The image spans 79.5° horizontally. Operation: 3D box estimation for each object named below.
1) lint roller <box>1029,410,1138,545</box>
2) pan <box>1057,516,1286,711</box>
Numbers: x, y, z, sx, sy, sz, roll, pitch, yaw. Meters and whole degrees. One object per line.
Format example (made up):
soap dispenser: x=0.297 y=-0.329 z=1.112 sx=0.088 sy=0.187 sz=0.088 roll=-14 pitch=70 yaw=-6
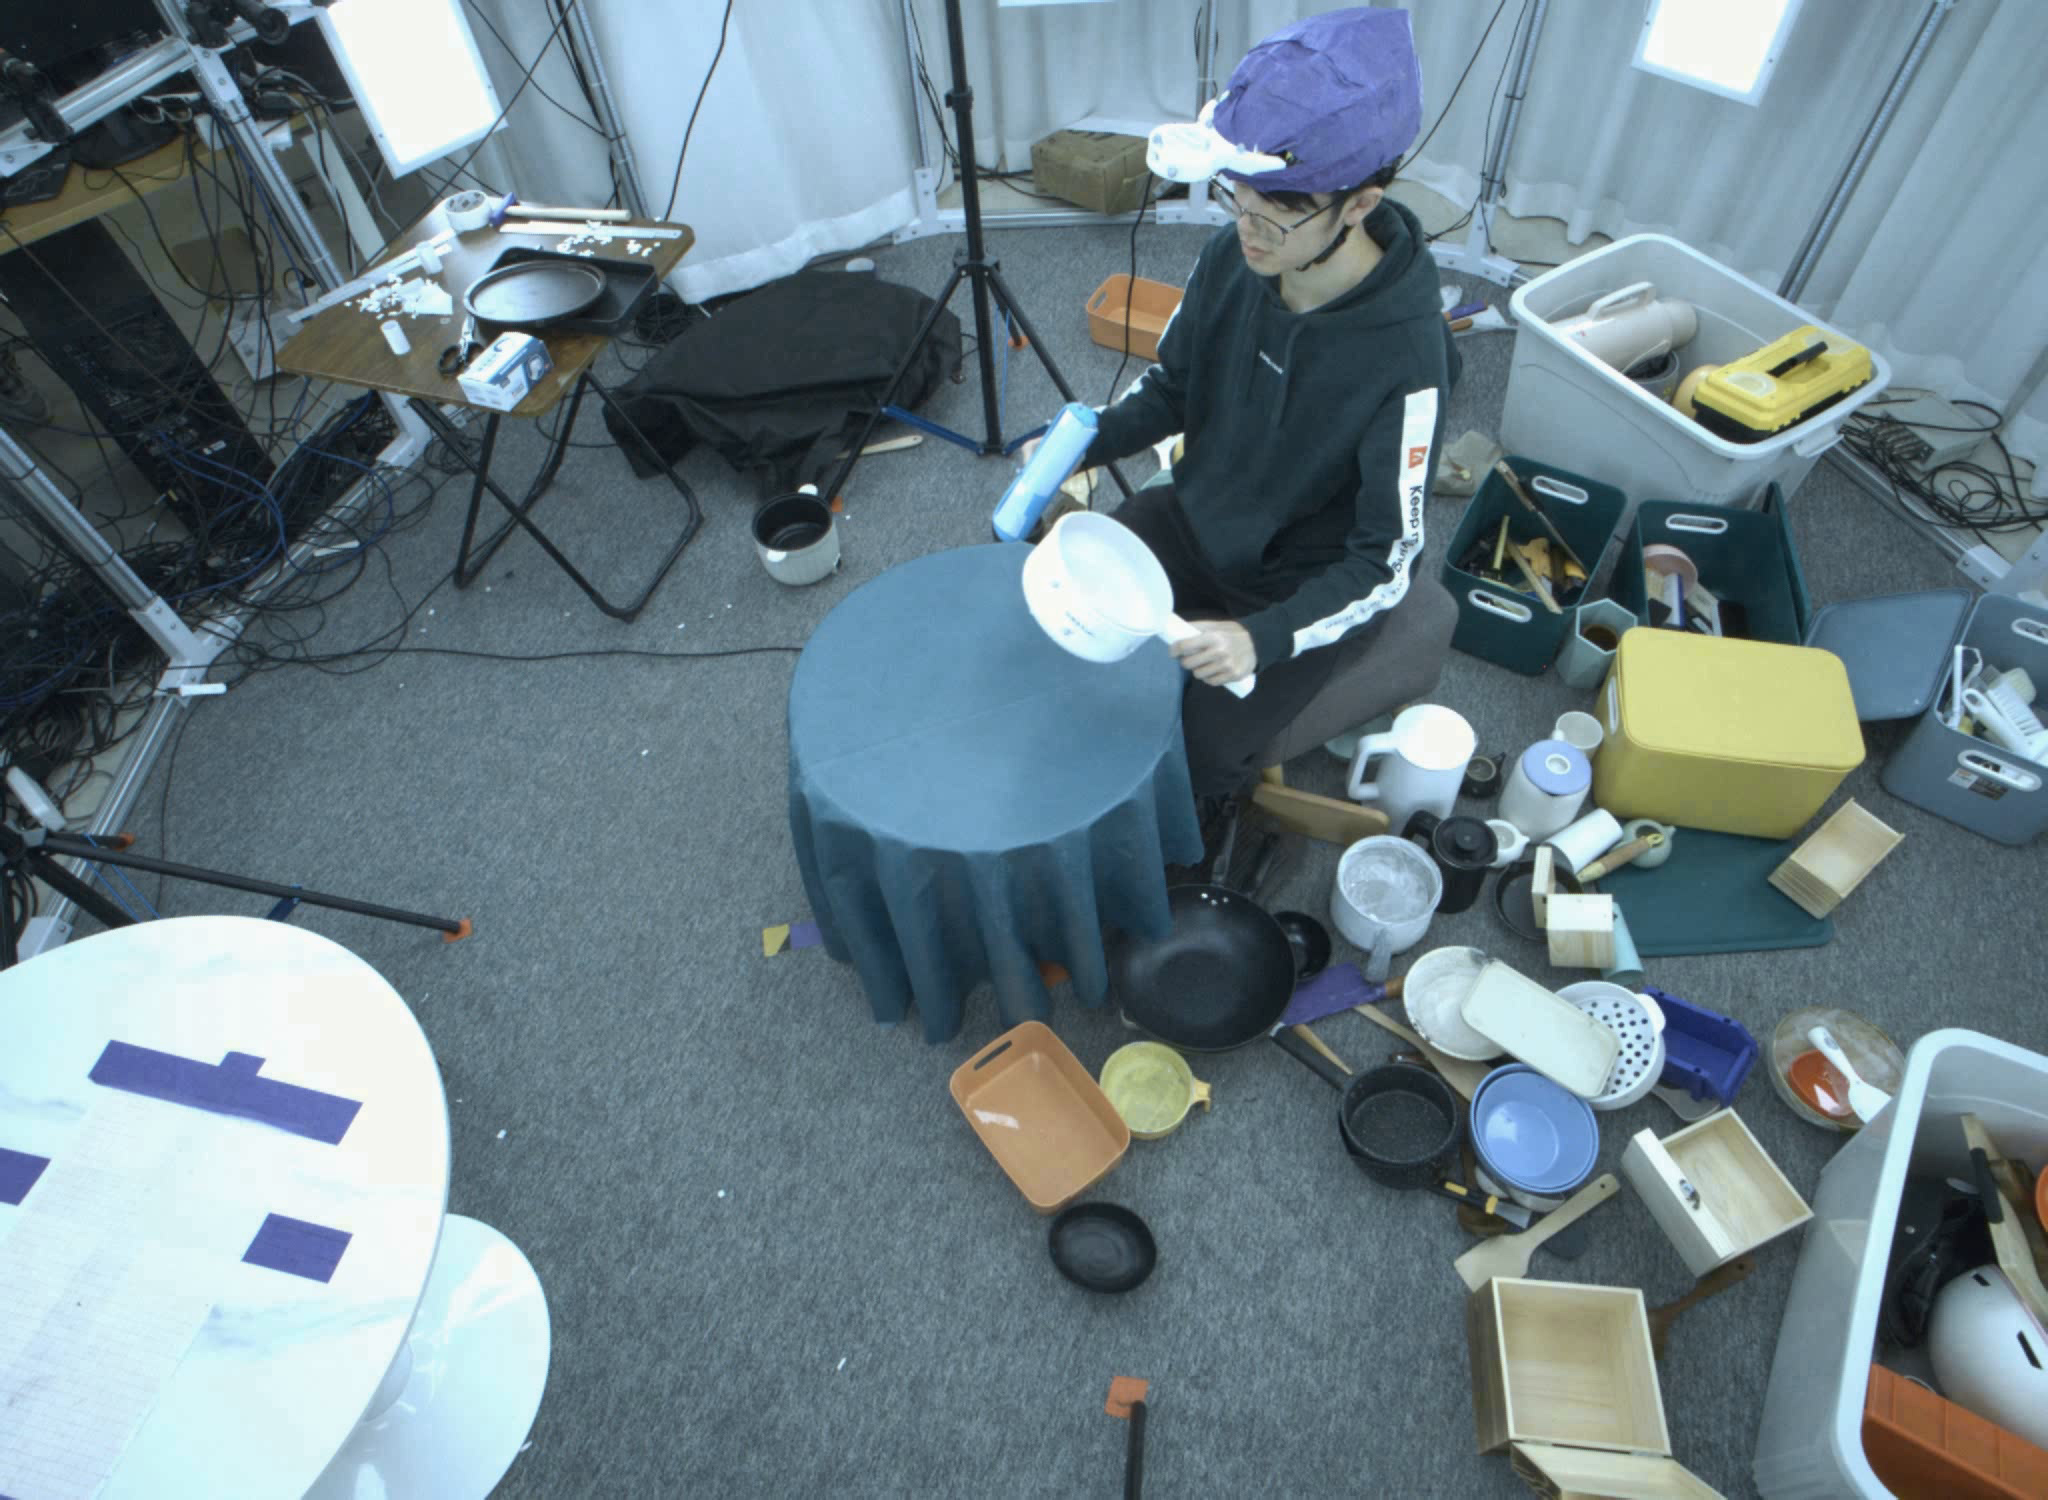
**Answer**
lint roller: x=0.090 y=-0.411 z=1.802 sx=0.068 sy=0.228 sz=0.179 roll=33 pitch=21 yaw=-7
pan: x=0.198 y=-0.161 z=1.677 sx=0.359 sy=0.101 sz=0.201 roll=38 pitch=43 yaw=-17
